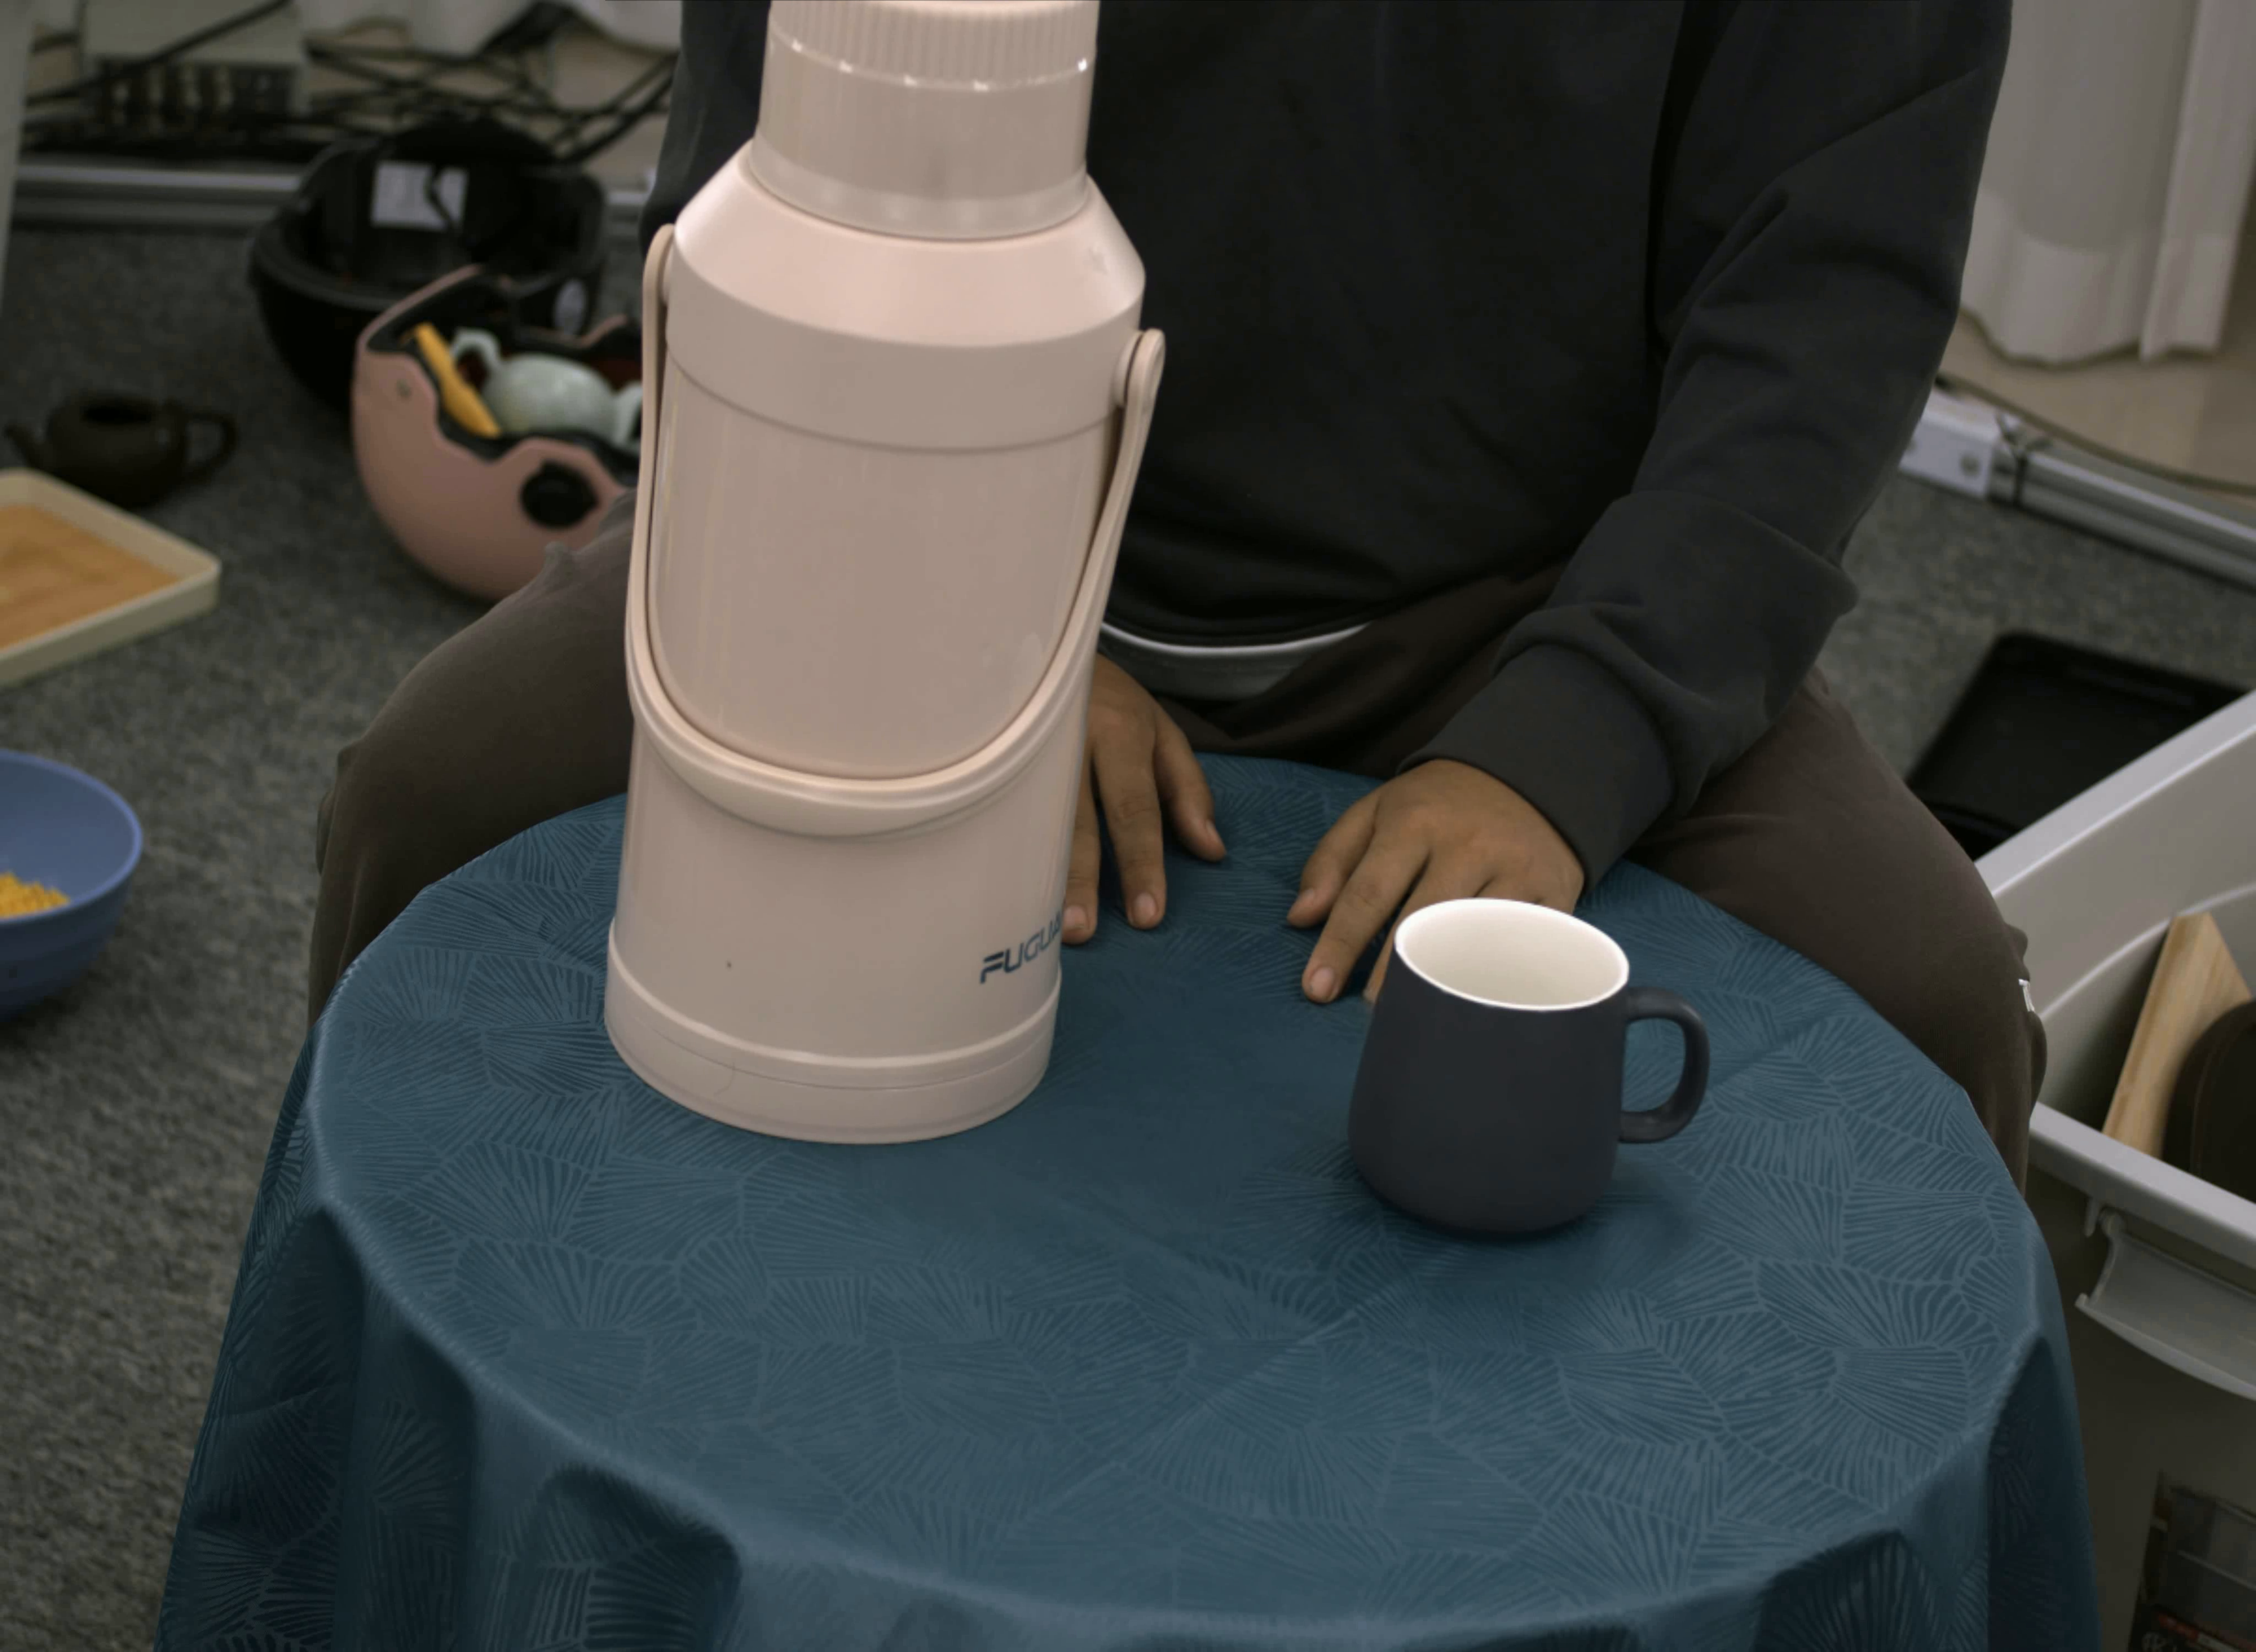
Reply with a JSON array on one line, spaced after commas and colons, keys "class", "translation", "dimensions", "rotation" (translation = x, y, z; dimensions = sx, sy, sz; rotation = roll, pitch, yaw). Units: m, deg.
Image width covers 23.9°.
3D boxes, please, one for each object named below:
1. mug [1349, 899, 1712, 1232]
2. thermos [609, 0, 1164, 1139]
[{"class": "mug", "translation": [0.140, 0.083, 1.820], "dimensions": [0.122, 0.089, 0.094], "rotation": [2, 27, -10]}, {"class": "thermos", "translation": [-0.078, -0.110, 1.809], "dimensions": [0.175, 0.405, 0.207], "rotation": [13, 28, 12]}]
